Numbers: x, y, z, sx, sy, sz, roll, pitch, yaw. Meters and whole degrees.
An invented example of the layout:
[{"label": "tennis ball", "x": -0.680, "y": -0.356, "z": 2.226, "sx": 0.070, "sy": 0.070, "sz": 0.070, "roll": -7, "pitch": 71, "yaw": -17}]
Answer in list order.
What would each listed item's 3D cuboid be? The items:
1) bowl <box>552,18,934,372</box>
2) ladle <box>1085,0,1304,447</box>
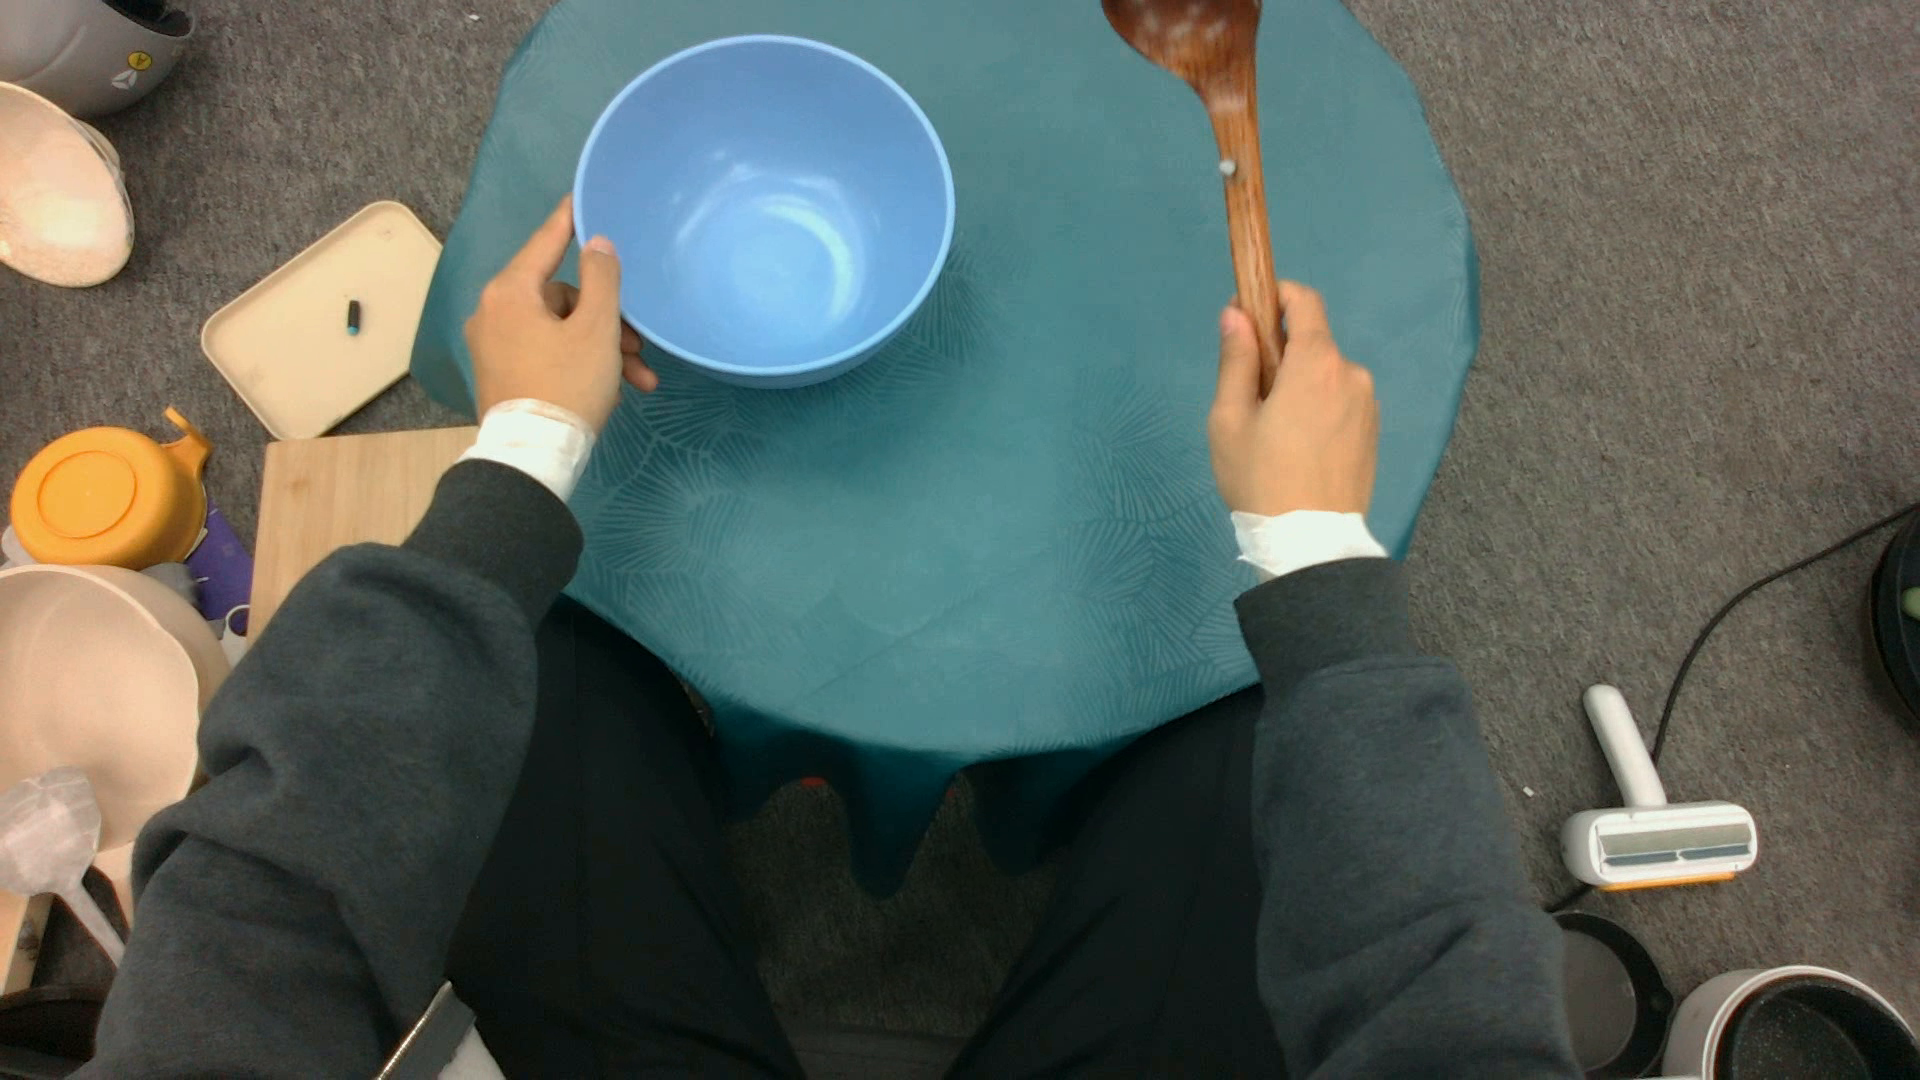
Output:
[{"label": "bowl", "x": -0.115, "y": -0.174, "z": 0.758, "sx": 0.196, "sy": 0.095, "sz": 0.197, "roll": 1, "pitch": 75, "yaw": -5}, {"label": "ladle", "x": 0.104, "y": -0.172, "z": 0.645, "sx": 0.077, "sy": 0.081, "sz": 0.274, "roll": -14, "pitch": 94, "yaw": -29}]
